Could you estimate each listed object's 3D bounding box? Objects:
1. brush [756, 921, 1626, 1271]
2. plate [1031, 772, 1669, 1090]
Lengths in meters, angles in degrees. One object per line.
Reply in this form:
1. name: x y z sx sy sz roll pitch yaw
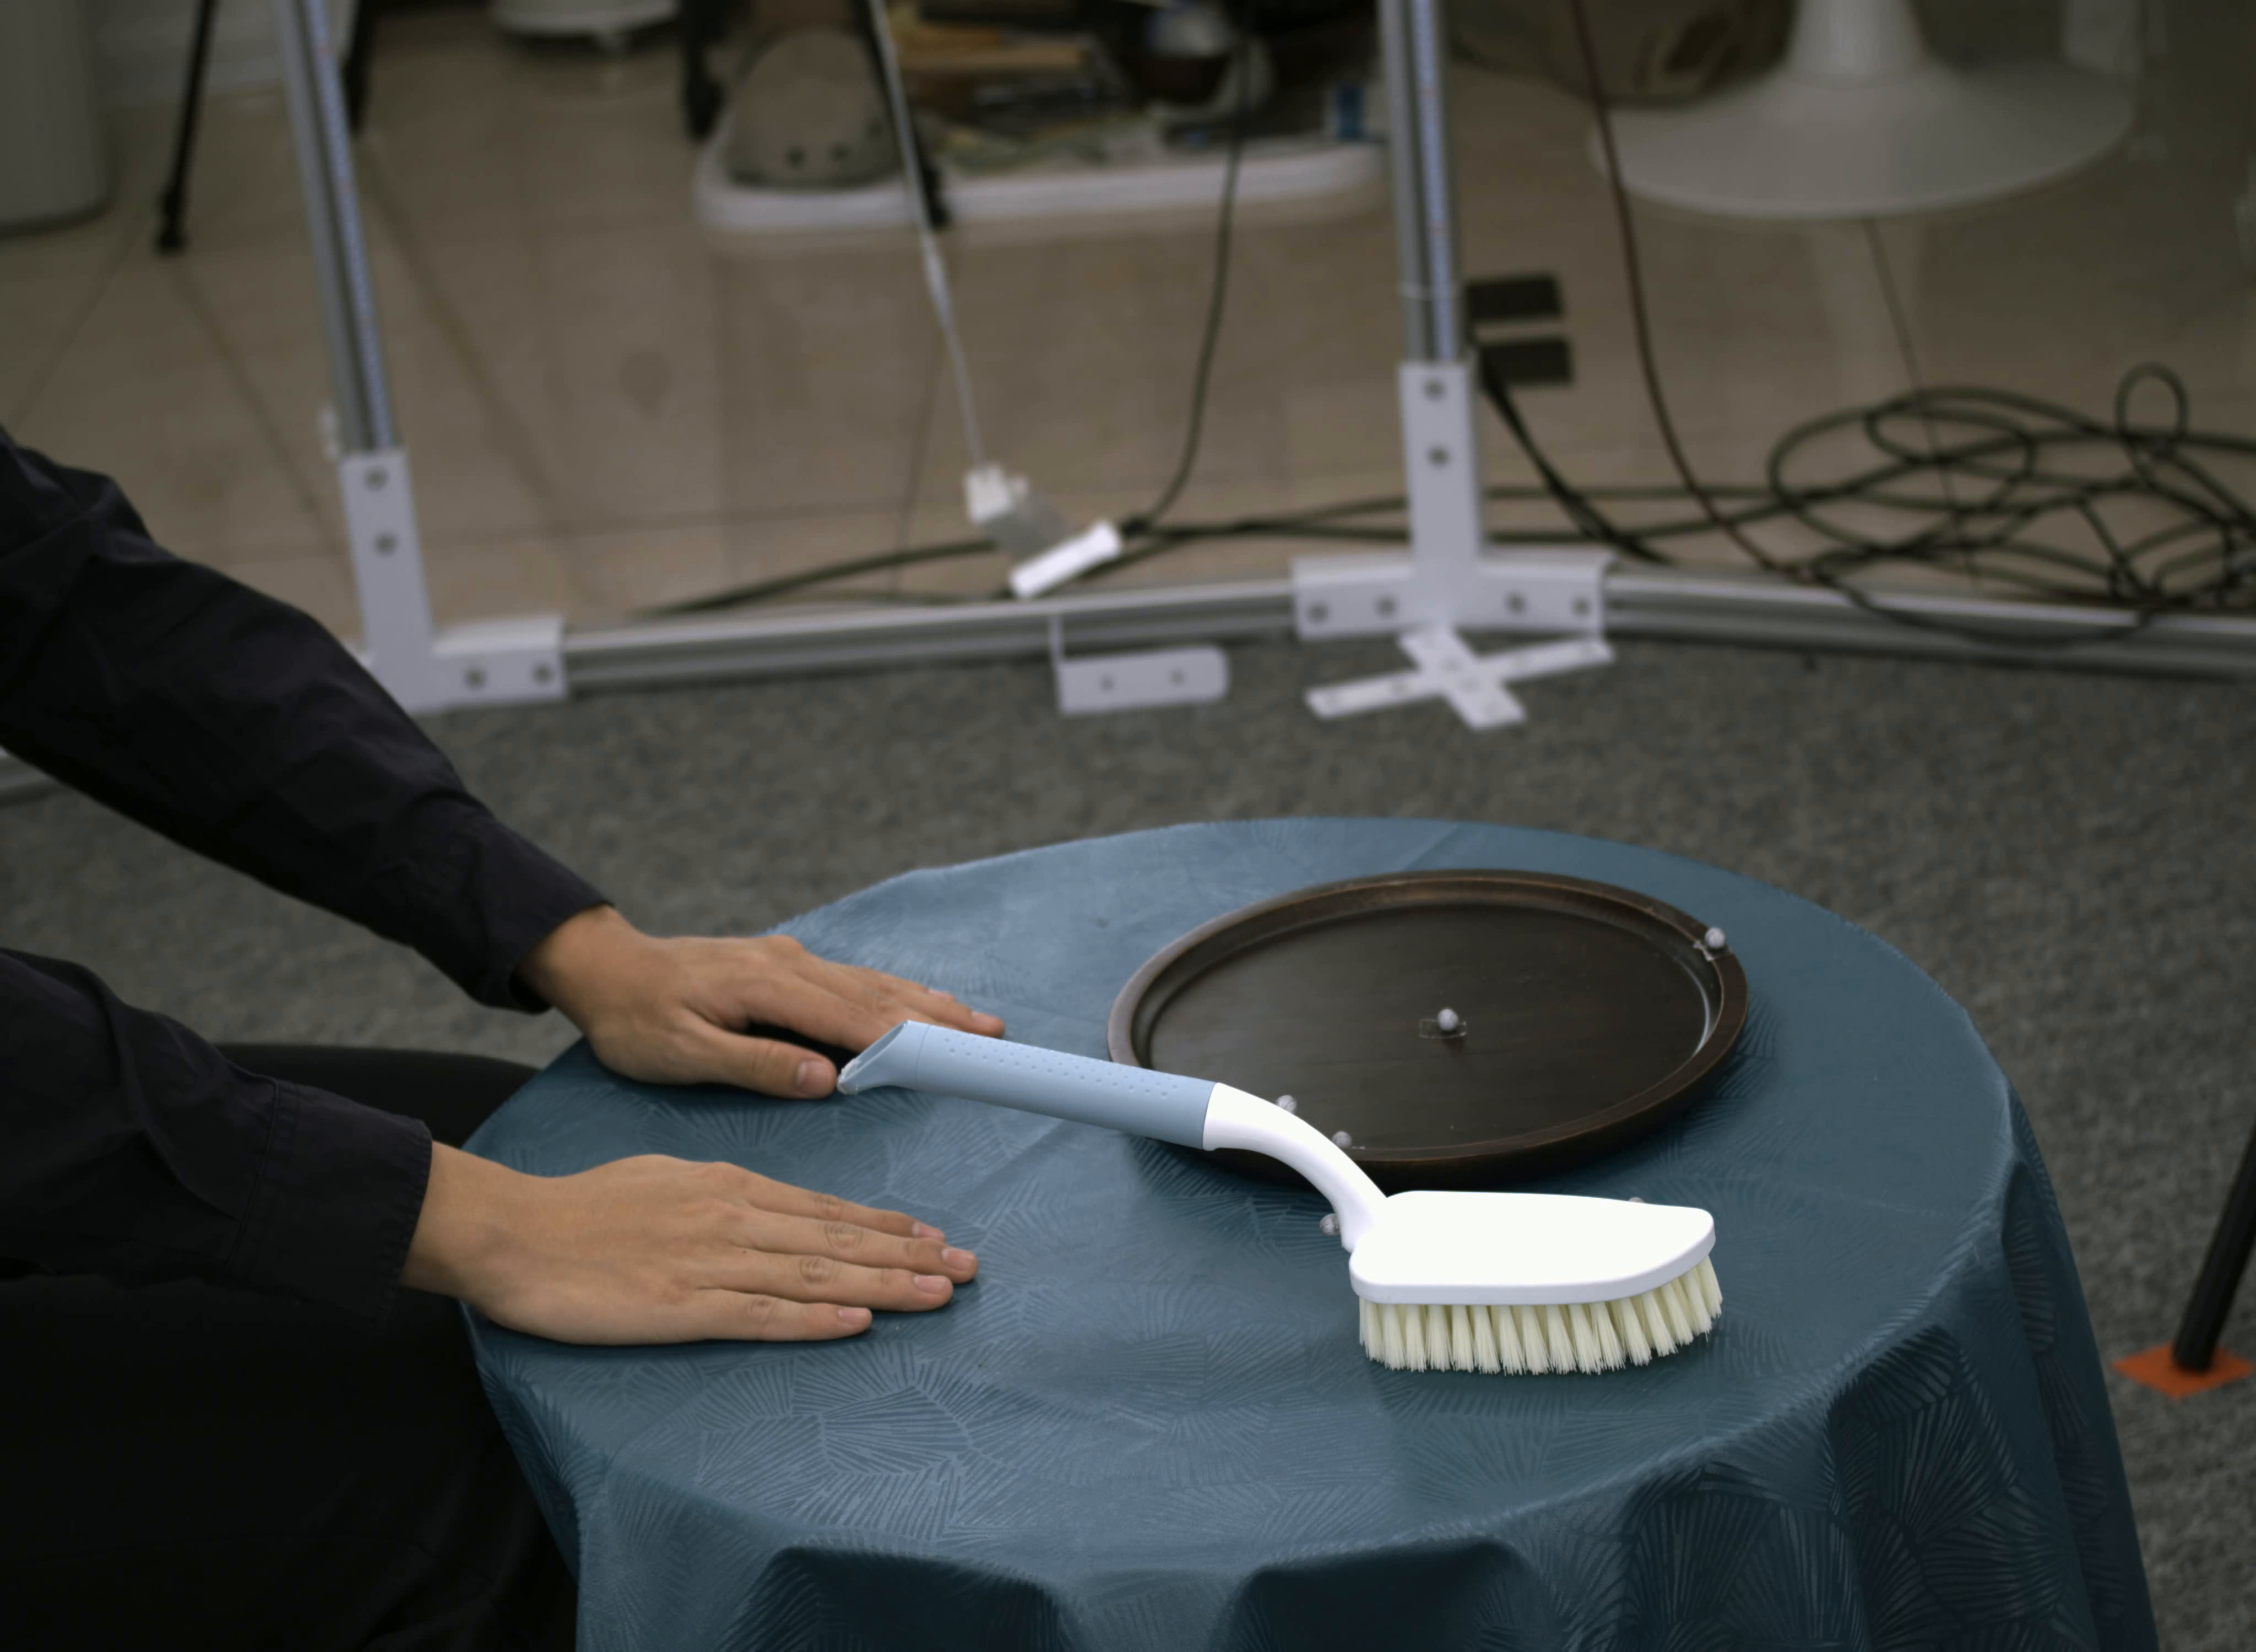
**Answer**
1. brush: 0.020 0.108 2.058 0.324 0.084 0.083 12 -8 9
2. plate: 0.088 0.040 2.253 0.254 0.029 0.251 -4 27 2
